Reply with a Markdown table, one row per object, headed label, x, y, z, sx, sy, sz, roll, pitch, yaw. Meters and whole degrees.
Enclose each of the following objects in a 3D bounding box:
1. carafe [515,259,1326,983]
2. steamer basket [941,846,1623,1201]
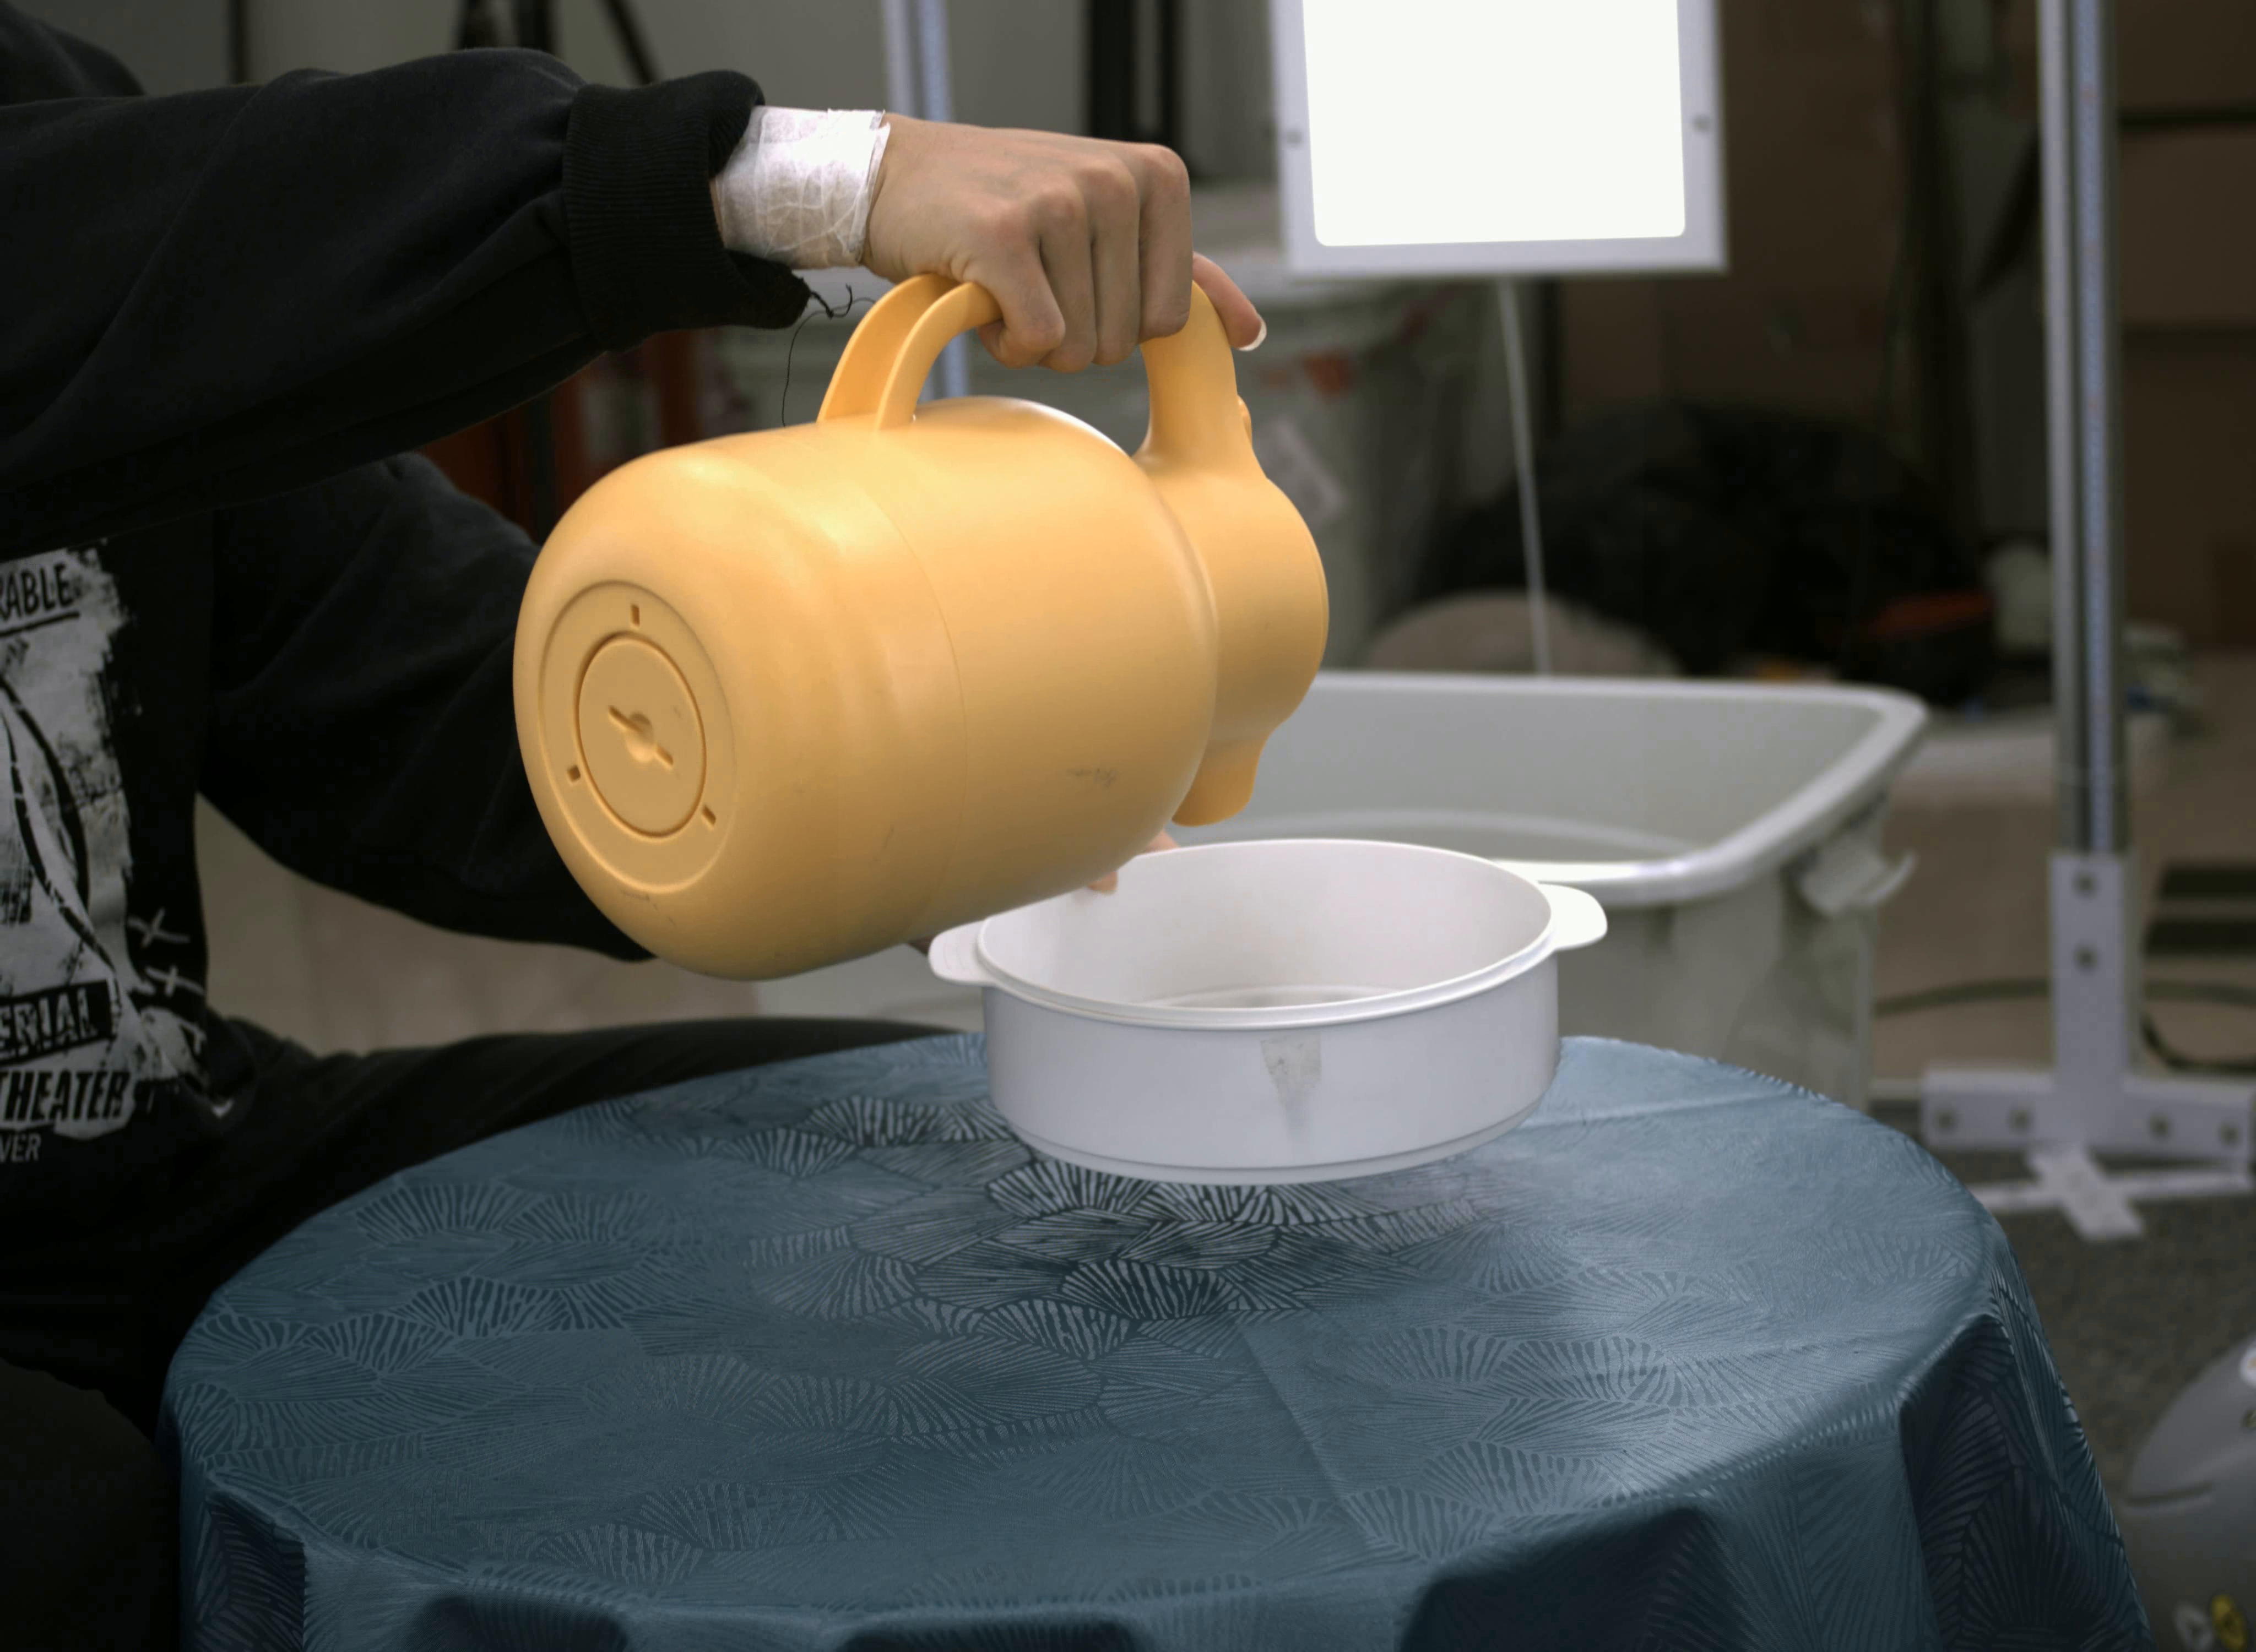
| label | x | y | z | sx | sy | sz | roll | pitch | yaw |
| --- | --- | --- | --- | --- | --- | --- | --- | --- | --- |
| carafe | -0.055 | -0.070 | 1.708 | 0.254 | 0.203 | 0.167 | -14 | 16 | -43 |
| steamer basket | 0.053 | 0.066 | 1.859 | 0.230 | 0.069 | 0.201 | -4 | 16 | 1 |
